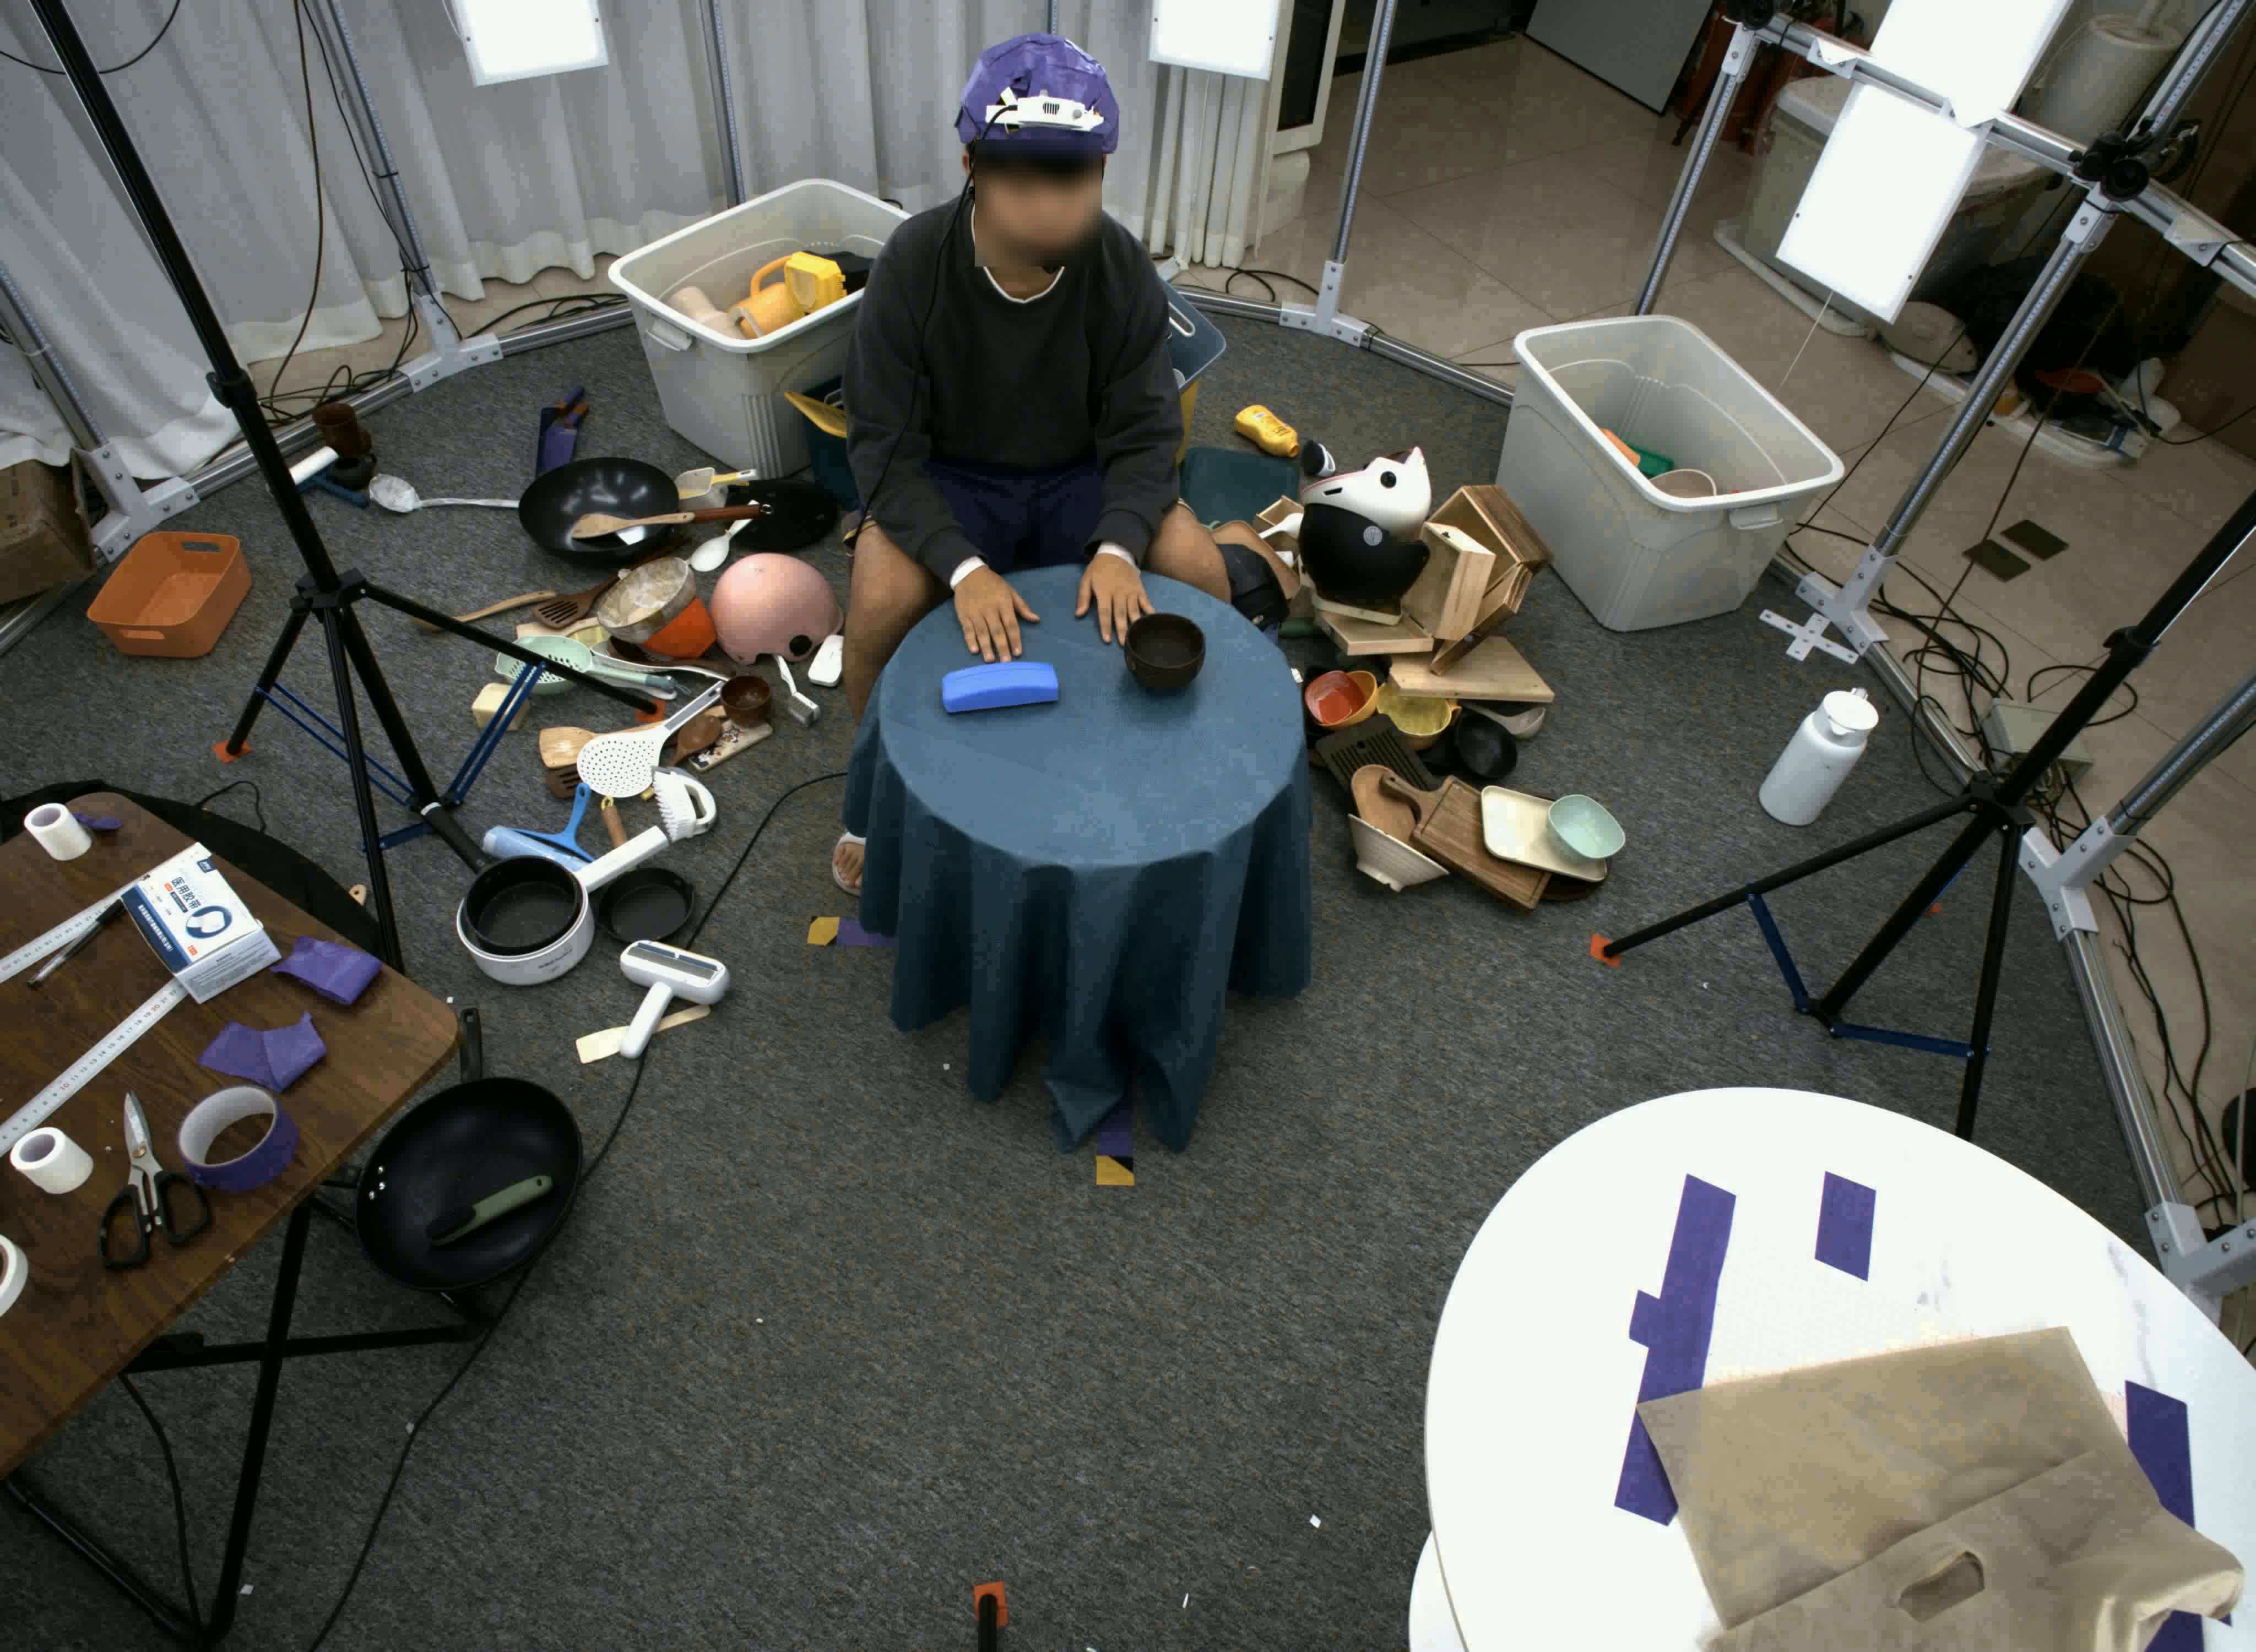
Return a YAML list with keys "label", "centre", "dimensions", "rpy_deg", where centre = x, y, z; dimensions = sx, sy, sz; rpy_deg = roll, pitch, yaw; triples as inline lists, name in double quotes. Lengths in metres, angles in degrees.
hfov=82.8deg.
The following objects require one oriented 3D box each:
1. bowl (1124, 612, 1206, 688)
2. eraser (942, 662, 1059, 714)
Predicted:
- label: "bowl"
  centre: [0.052, -0.243, 1.833]
  dimensions: [0.118, 0.068, 0.121]
  rpy_deg: [1, 48, -2]
- label: "eraser"
  centre: [-0.178, -0.196, 1.795]
  dimensions: [0.162, 0.046, 0.055]
  rpy_deg: [-8, 51, -11]
